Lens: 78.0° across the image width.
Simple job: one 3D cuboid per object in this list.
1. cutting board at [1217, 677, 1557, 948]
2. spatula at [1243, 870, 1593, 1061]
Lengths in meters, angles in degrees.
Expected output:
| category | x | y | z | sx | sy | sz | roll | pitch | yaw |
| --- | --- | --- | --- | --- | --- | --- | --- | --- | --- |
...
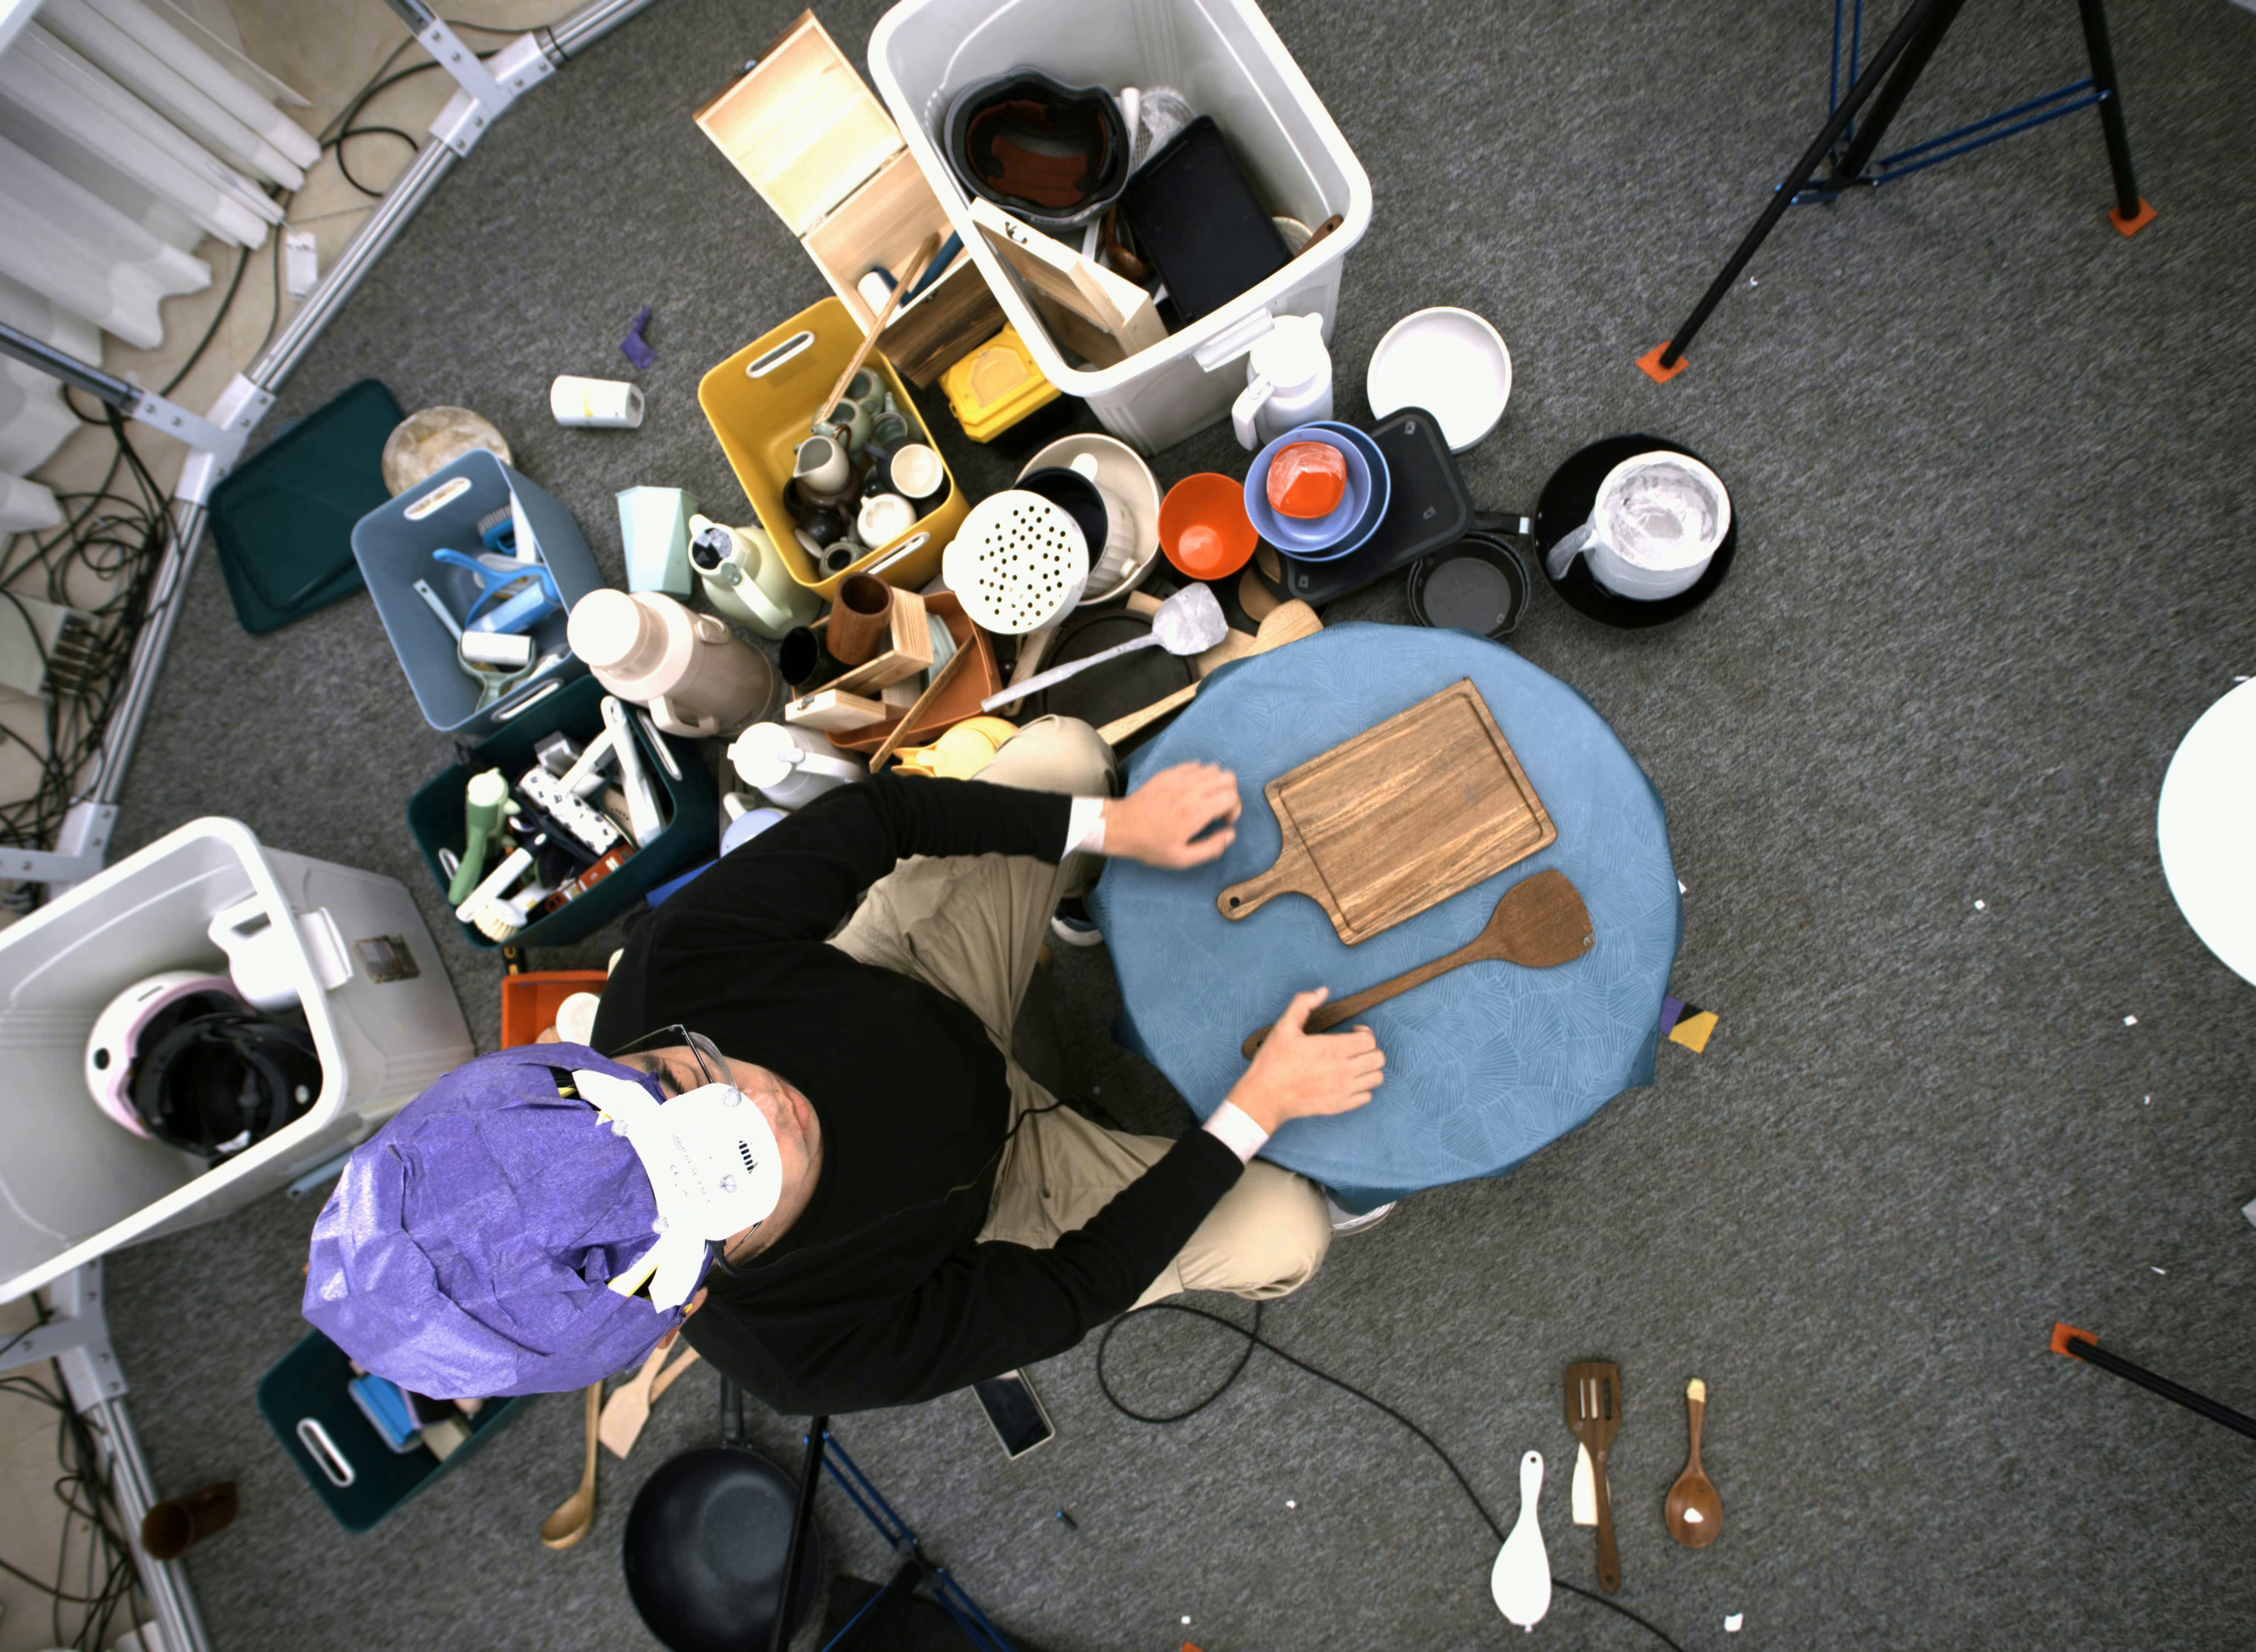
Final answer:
| category | x | y | z | sx | sy | sz | roll | pitch | yaw |
| --- | --- | --- | --- | --- | --- | --- | --- | --- | --- |
| cutting board | 0.250 | 0.007 | 1.457 | 0.354 | 0.023 | 0.200 | -29 | 82 | 8 |
| spatula | 0.296 | 0.160 | 1.443 | 0.388 | 0.016 | 0.095 | -25 | 82 | 8 |
